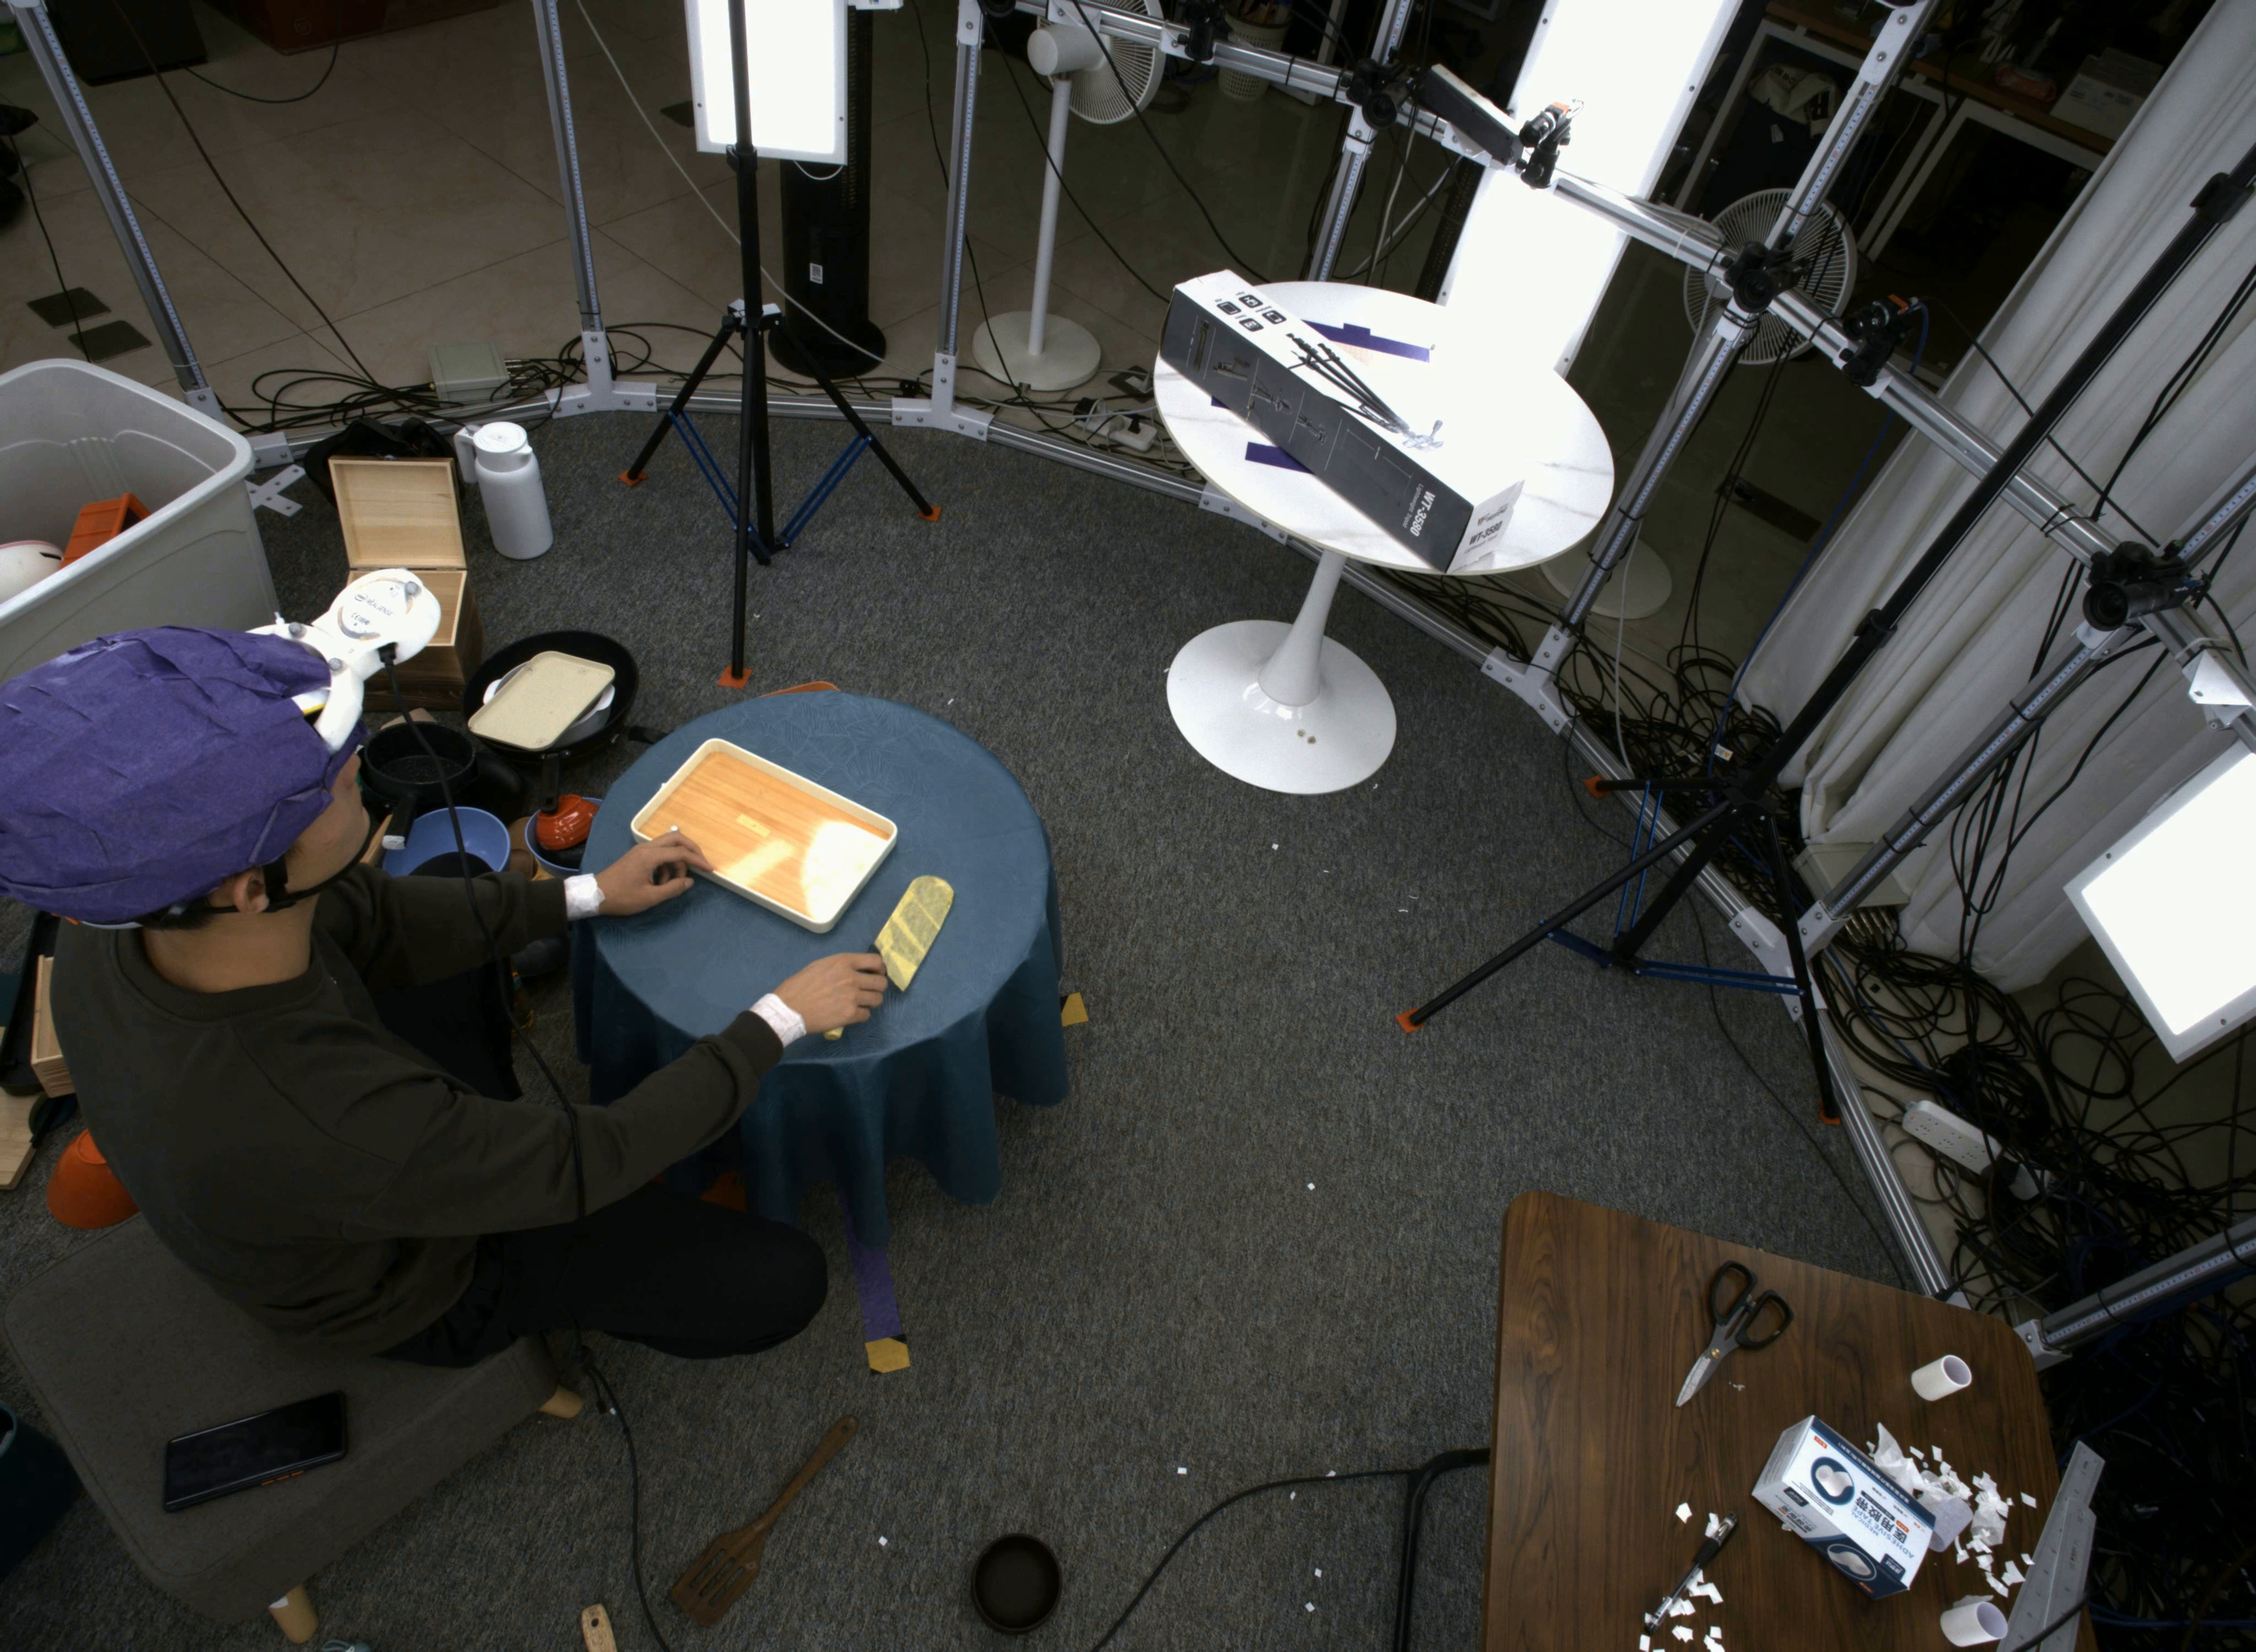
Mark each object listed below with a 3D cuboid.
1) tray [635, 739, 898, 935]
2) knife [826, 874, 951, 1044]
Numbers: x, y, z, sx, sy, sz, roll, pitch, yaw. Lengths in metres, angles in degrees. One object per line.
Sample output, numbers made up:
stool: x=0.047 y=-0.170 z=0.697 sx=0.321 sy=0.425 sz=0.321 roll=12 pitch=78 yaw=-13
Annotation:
tray: x=-0.473 y=0.009 z=1.699 sx=0.296 sy=0.028 sz=0.190 roll=25 pitch=53 yaw=5
knife: x=-0.289 y=0.161 z=1.606 sx=0.083 sy=0.026 sz=0.287 roll=52 pitch=42 yaw=-24
